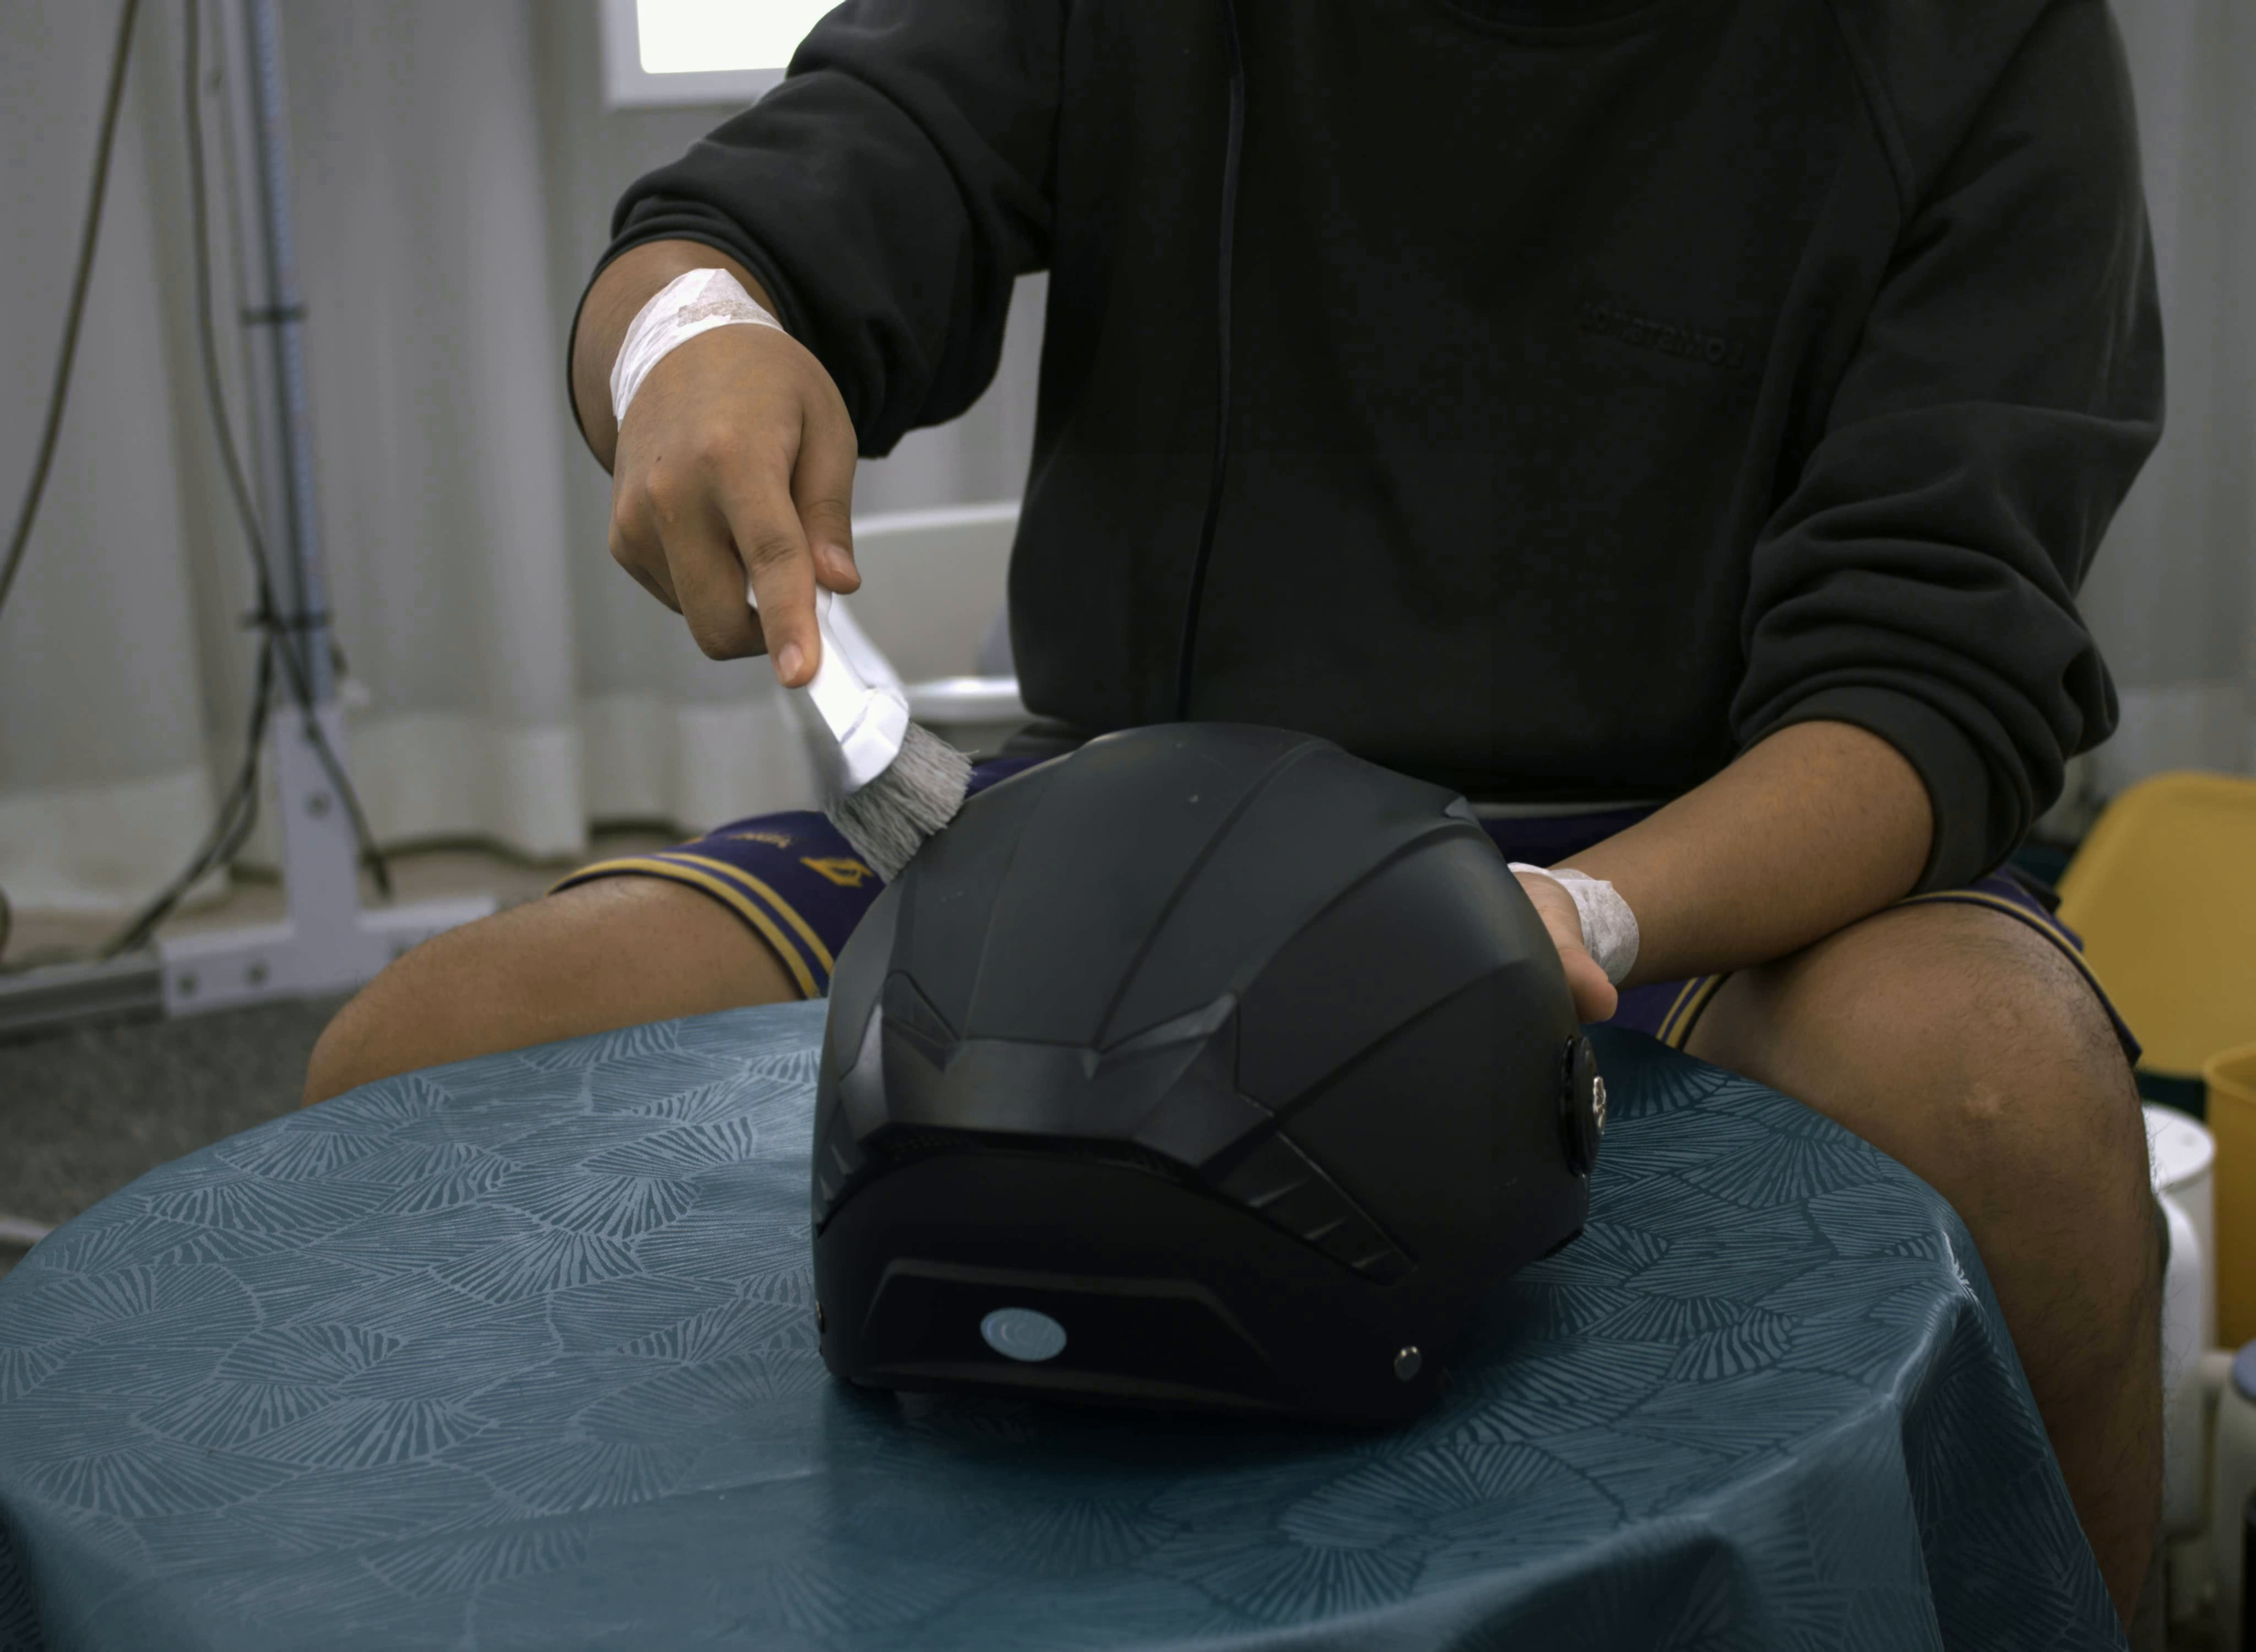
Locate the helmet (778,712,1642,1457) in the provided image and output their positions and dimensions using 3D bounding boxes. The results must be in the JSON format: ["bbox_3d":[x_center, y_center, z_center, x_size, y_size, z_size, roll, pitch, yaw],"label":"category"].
[{"bbox_3d":[0.019,0.056,1.573,0.247,0.171,0.279,4,31,22],"label":"helmet"}]

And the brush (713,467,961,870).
[{"bbox_3d":[-0.089,-0.050,1.671,0.050,0.034,0.246,39,11,-24],"label":"brush"}]
